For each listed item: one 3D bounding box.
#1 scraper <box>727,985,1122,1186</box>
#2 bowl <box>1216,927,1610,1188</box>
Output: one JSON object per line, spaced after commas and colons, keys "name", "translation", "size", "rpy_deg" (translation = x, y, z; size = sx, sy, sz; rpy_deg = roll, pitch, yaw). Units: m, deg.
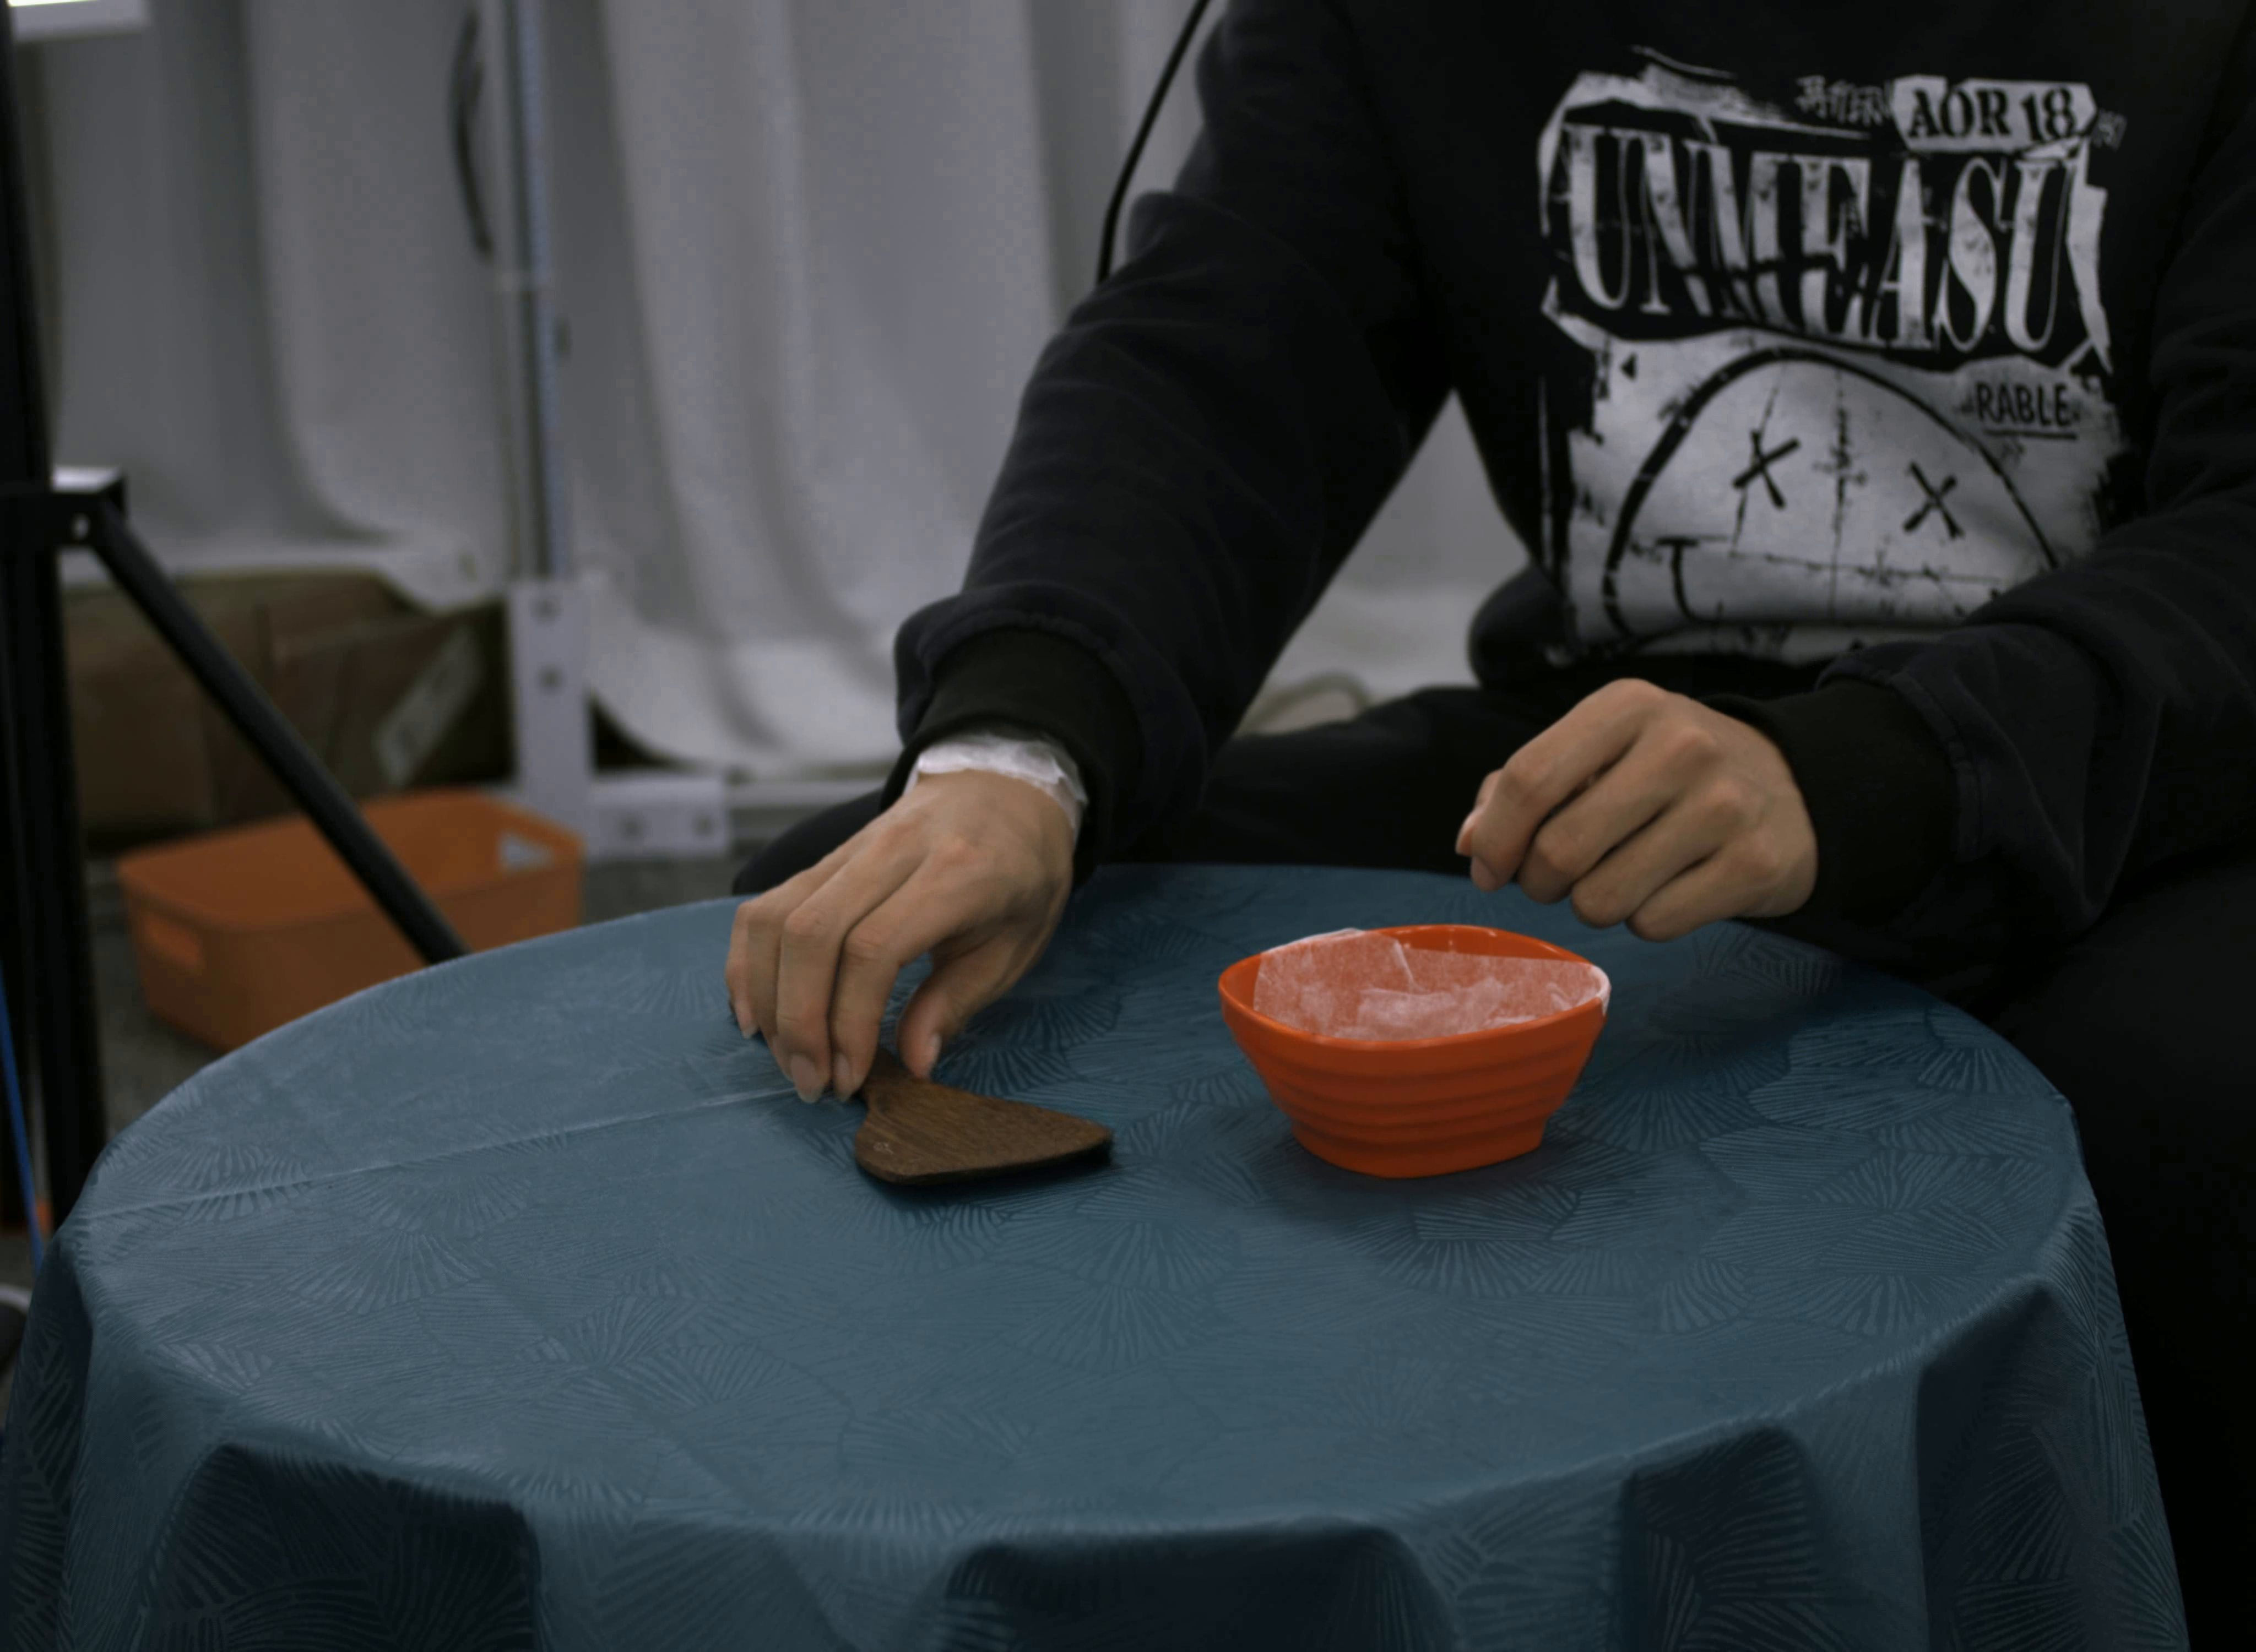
{"name": "scraper", "translation": [-0.076, 0.079, 1.656], "size": [0.074, 0.011, 0.215], "rpy_deg": [-8, 16, -24]}
{"name": "bowl", "translation": [0.086, 0.071, 1.585], "size": [0.118, 0.051, 0.119], "rpy_deg": [-4, 16, 0]}
